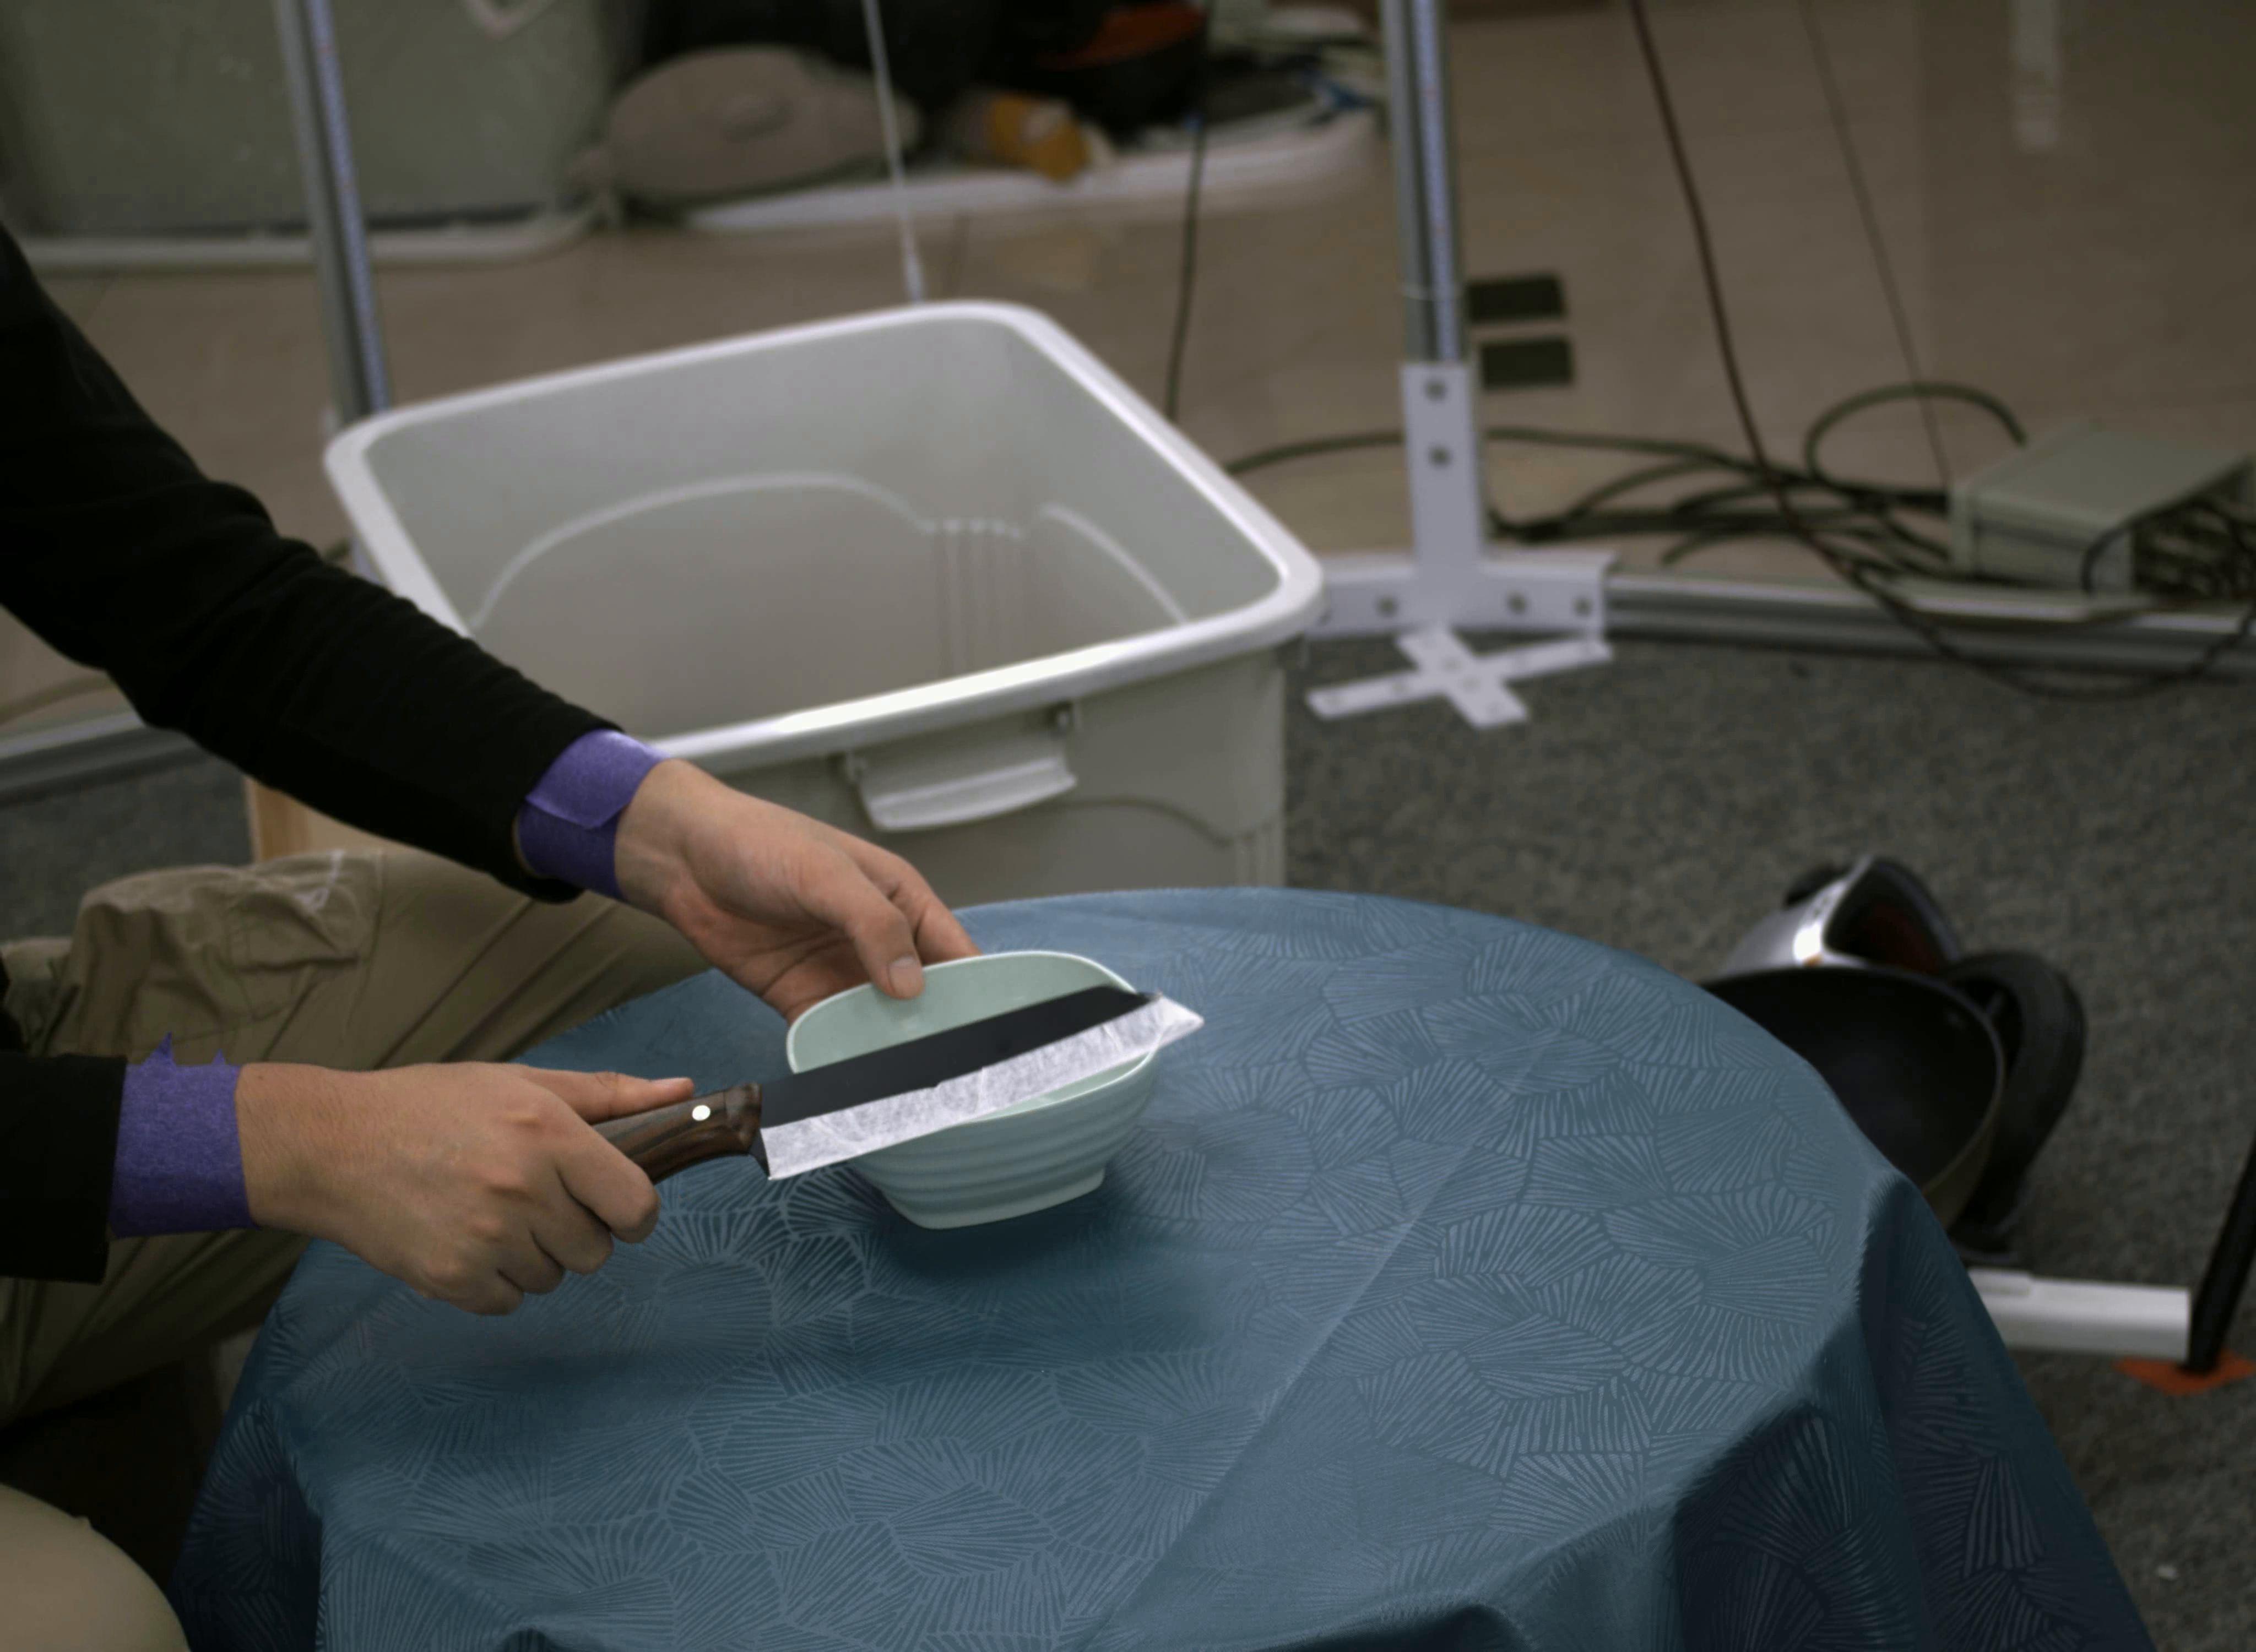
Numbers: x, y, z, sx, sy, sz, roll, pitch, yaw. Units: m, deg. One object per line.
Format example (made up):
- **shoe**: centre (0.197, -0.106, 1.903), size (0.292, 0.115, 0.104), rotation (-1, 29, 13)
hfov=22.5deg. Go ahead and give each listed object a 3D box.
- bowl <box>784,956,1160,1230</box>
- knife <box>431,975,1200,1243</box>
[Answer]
- **bowl**: centre (-0.058, 0.107, 2.166), size (0.151, 0.059, 0.149), rotation (-4, 25, 2)
- **knife**: centre (-0.113, 0.103, 2.064), size (0.289, 0.020, 0.049), rotation (-15, 53, 1)
